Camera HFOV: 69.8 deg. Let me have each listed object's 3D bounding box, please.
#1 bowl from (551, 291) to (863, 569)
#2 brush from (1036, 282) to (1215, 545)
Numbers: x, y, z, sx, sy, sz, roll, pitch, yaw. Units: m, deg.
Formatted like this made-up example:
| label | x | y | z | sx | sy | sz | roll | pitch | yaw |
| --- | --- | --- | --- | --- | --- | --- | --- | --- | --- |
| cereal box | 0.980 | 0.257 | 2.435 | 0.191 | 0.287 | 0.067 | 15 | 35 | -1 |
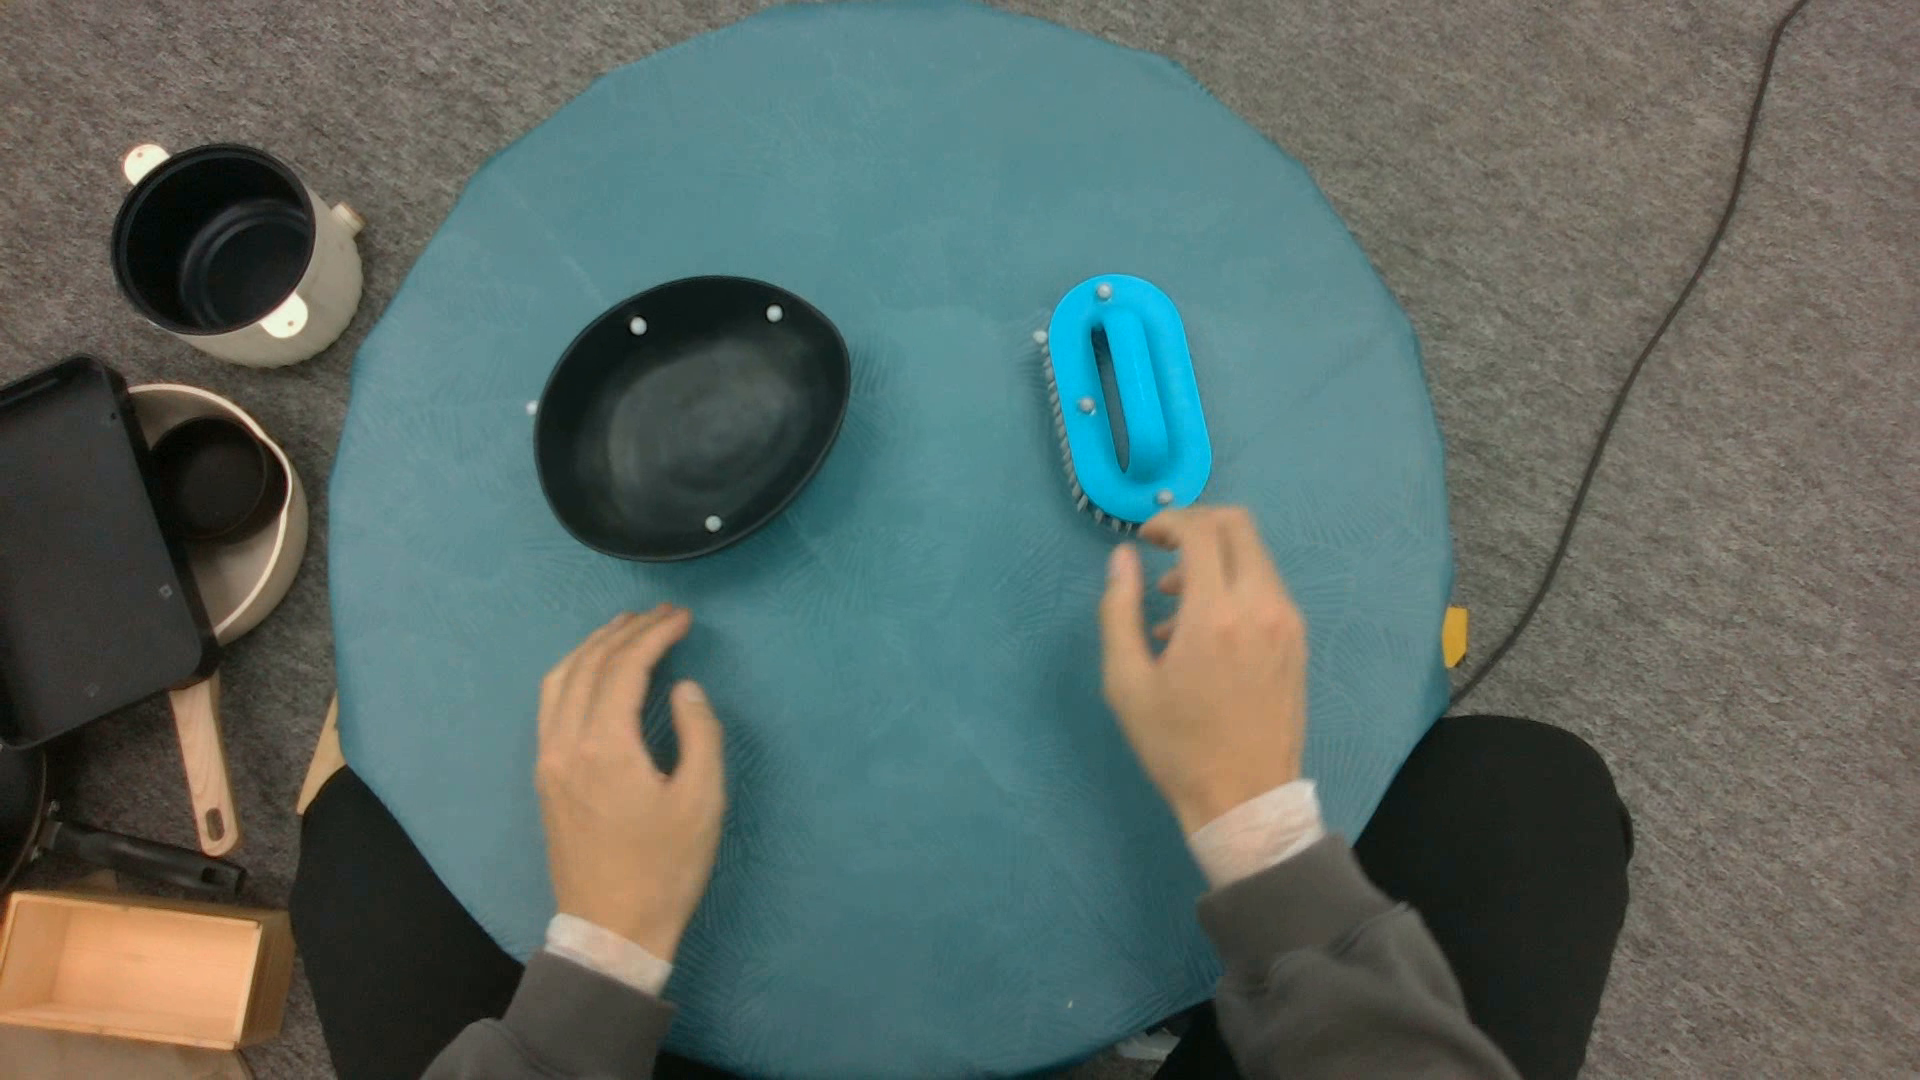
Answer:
| label | x | y | z | sx | sy | sz | roll | pitch | yaw |
| --- | --- | --- | --- | --- | --- | --- | --- | --- | --- |
| bowl | -0.130 | -0.055 | 0.729 | 0.170 | 0.066 | 0.137 | -40 | 82 | -9 |
| brush | 0.090 | -0.071 | 0.728 | 0.084 | 0.063 | 0.142 | -7 | 80 | -5 |
